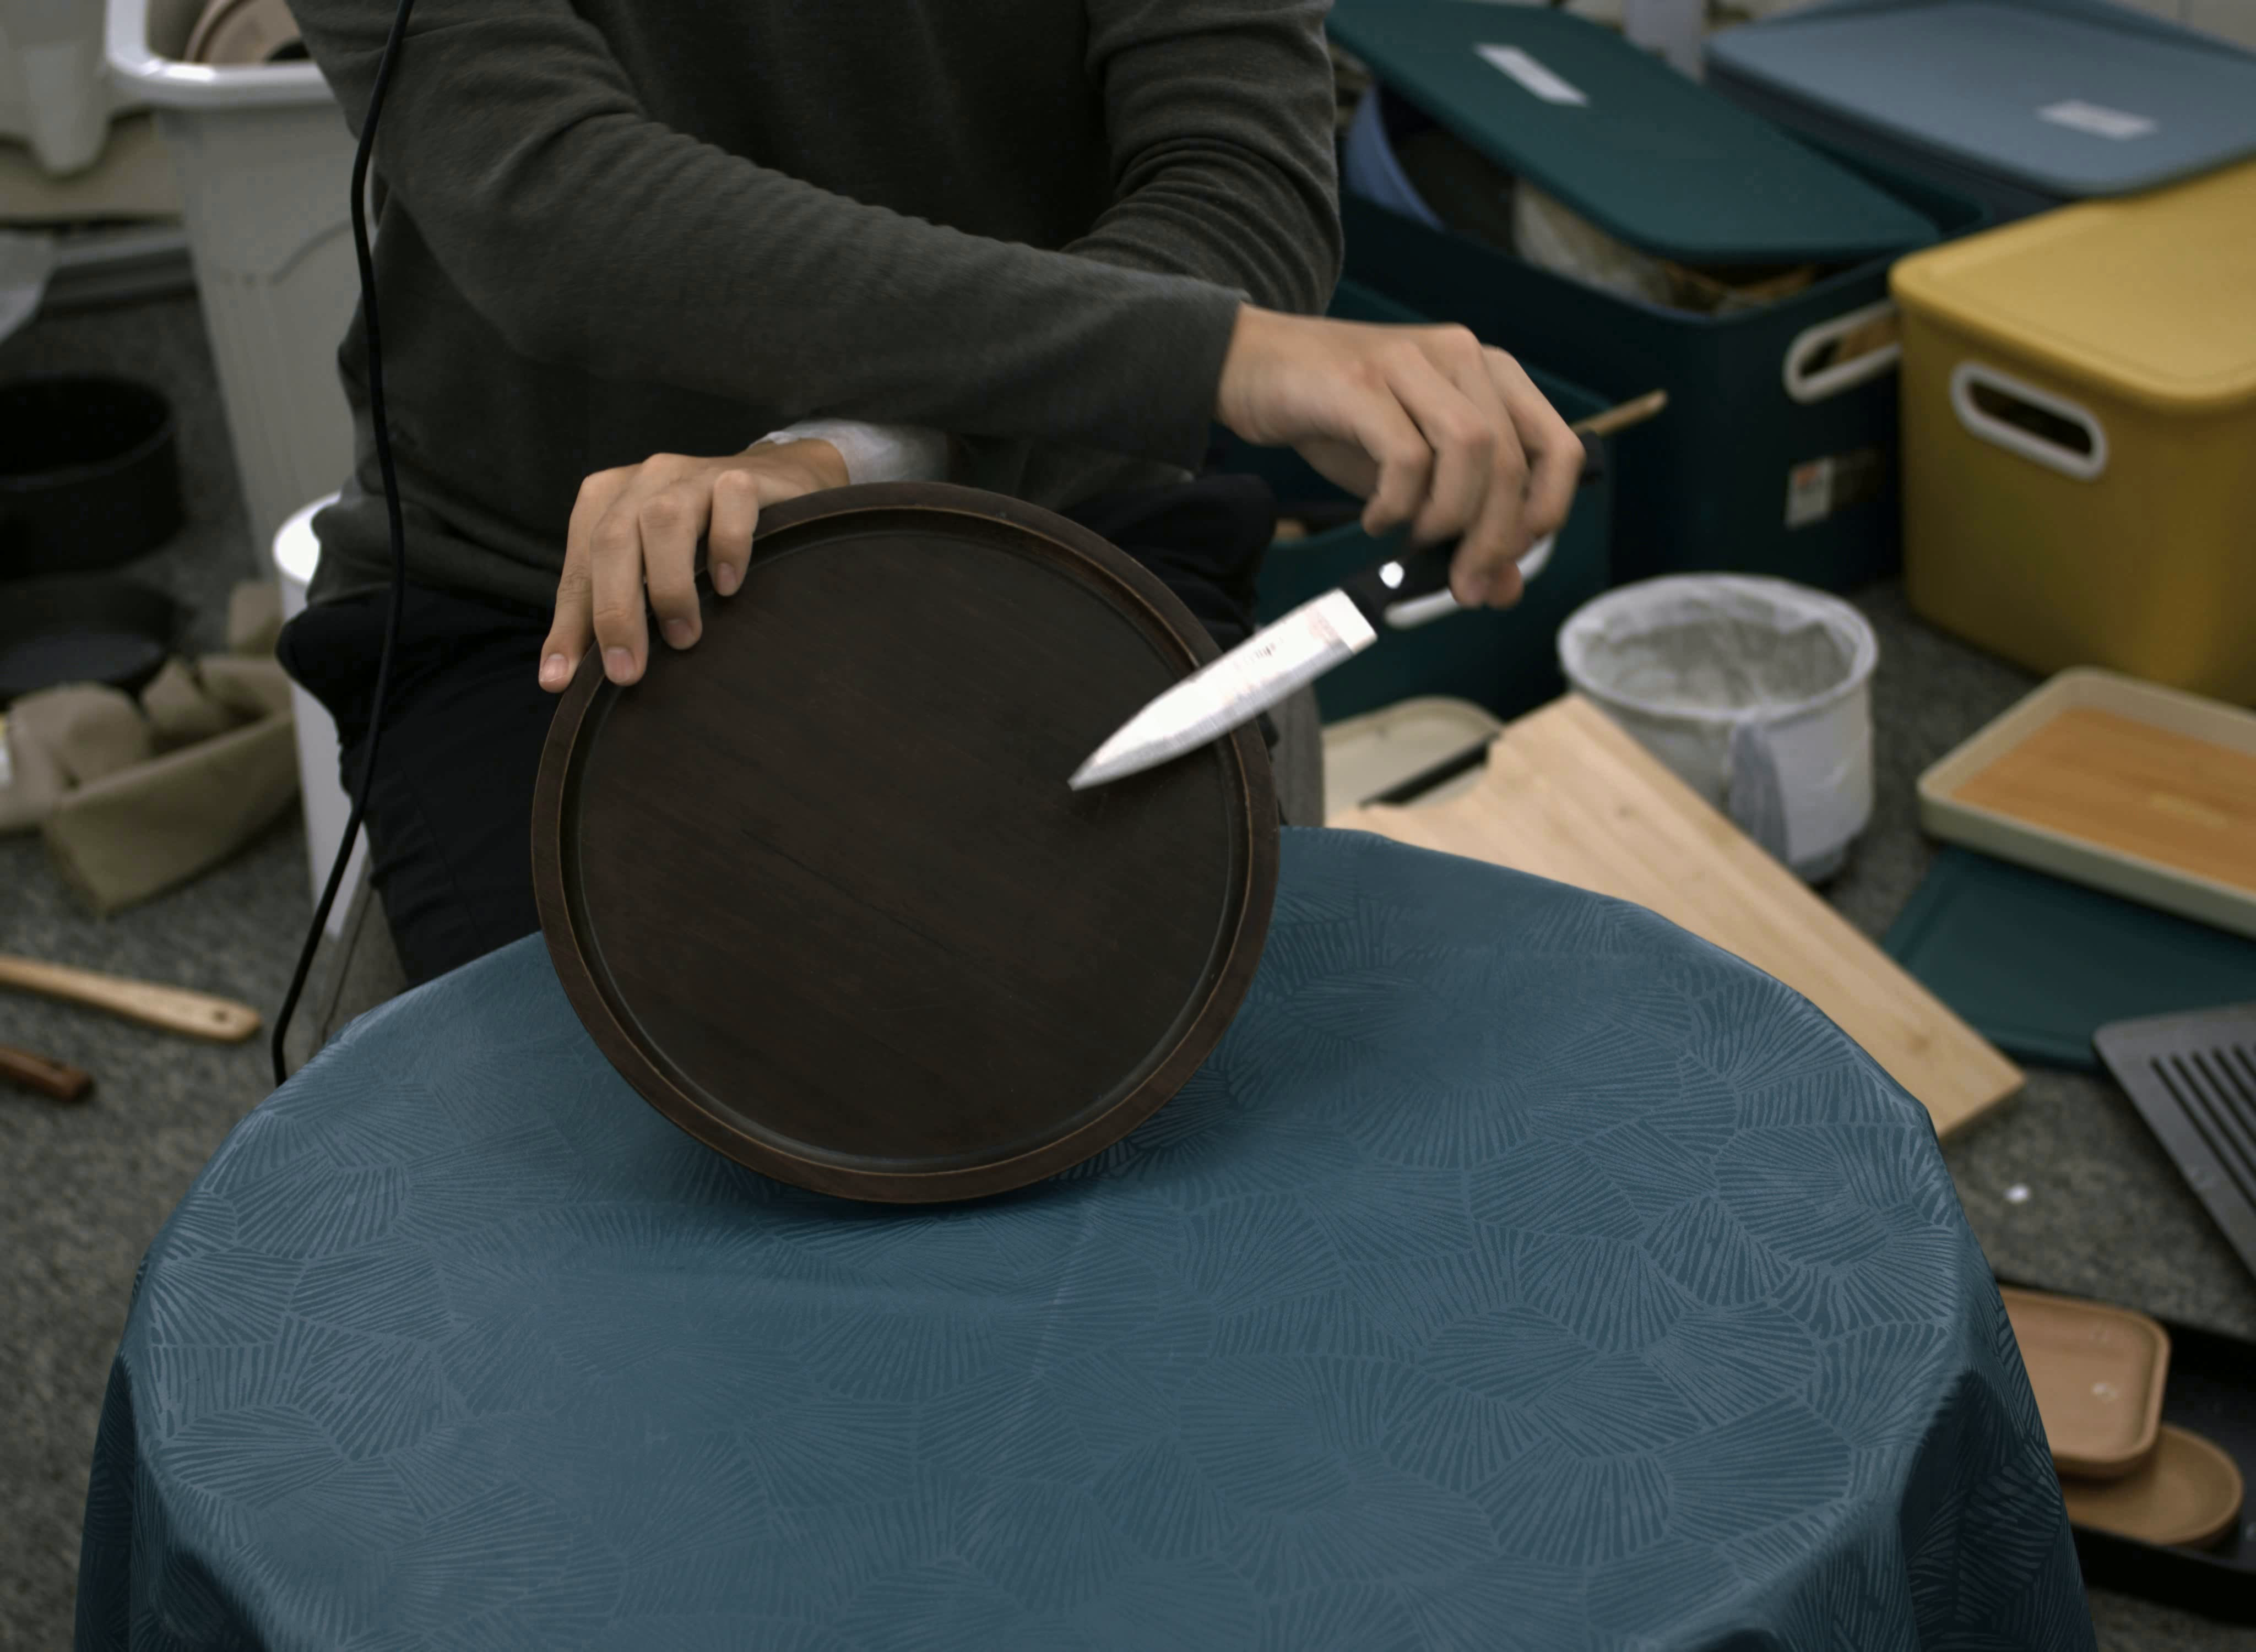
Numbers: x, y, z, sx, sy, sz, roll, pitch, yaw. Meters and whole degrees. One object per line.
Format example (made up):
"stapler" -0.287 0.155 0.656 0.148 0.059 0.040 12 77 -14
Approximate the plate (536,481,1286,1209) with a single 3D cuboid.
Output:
"plate" -0.073 0.006 1.895 0.254 0.258 0.029 -6 -17 -8

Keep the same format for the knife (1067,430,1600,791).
"knife" 0.069 -0.075 1.930 0.240 0.024 0.016 -33 2 -24
